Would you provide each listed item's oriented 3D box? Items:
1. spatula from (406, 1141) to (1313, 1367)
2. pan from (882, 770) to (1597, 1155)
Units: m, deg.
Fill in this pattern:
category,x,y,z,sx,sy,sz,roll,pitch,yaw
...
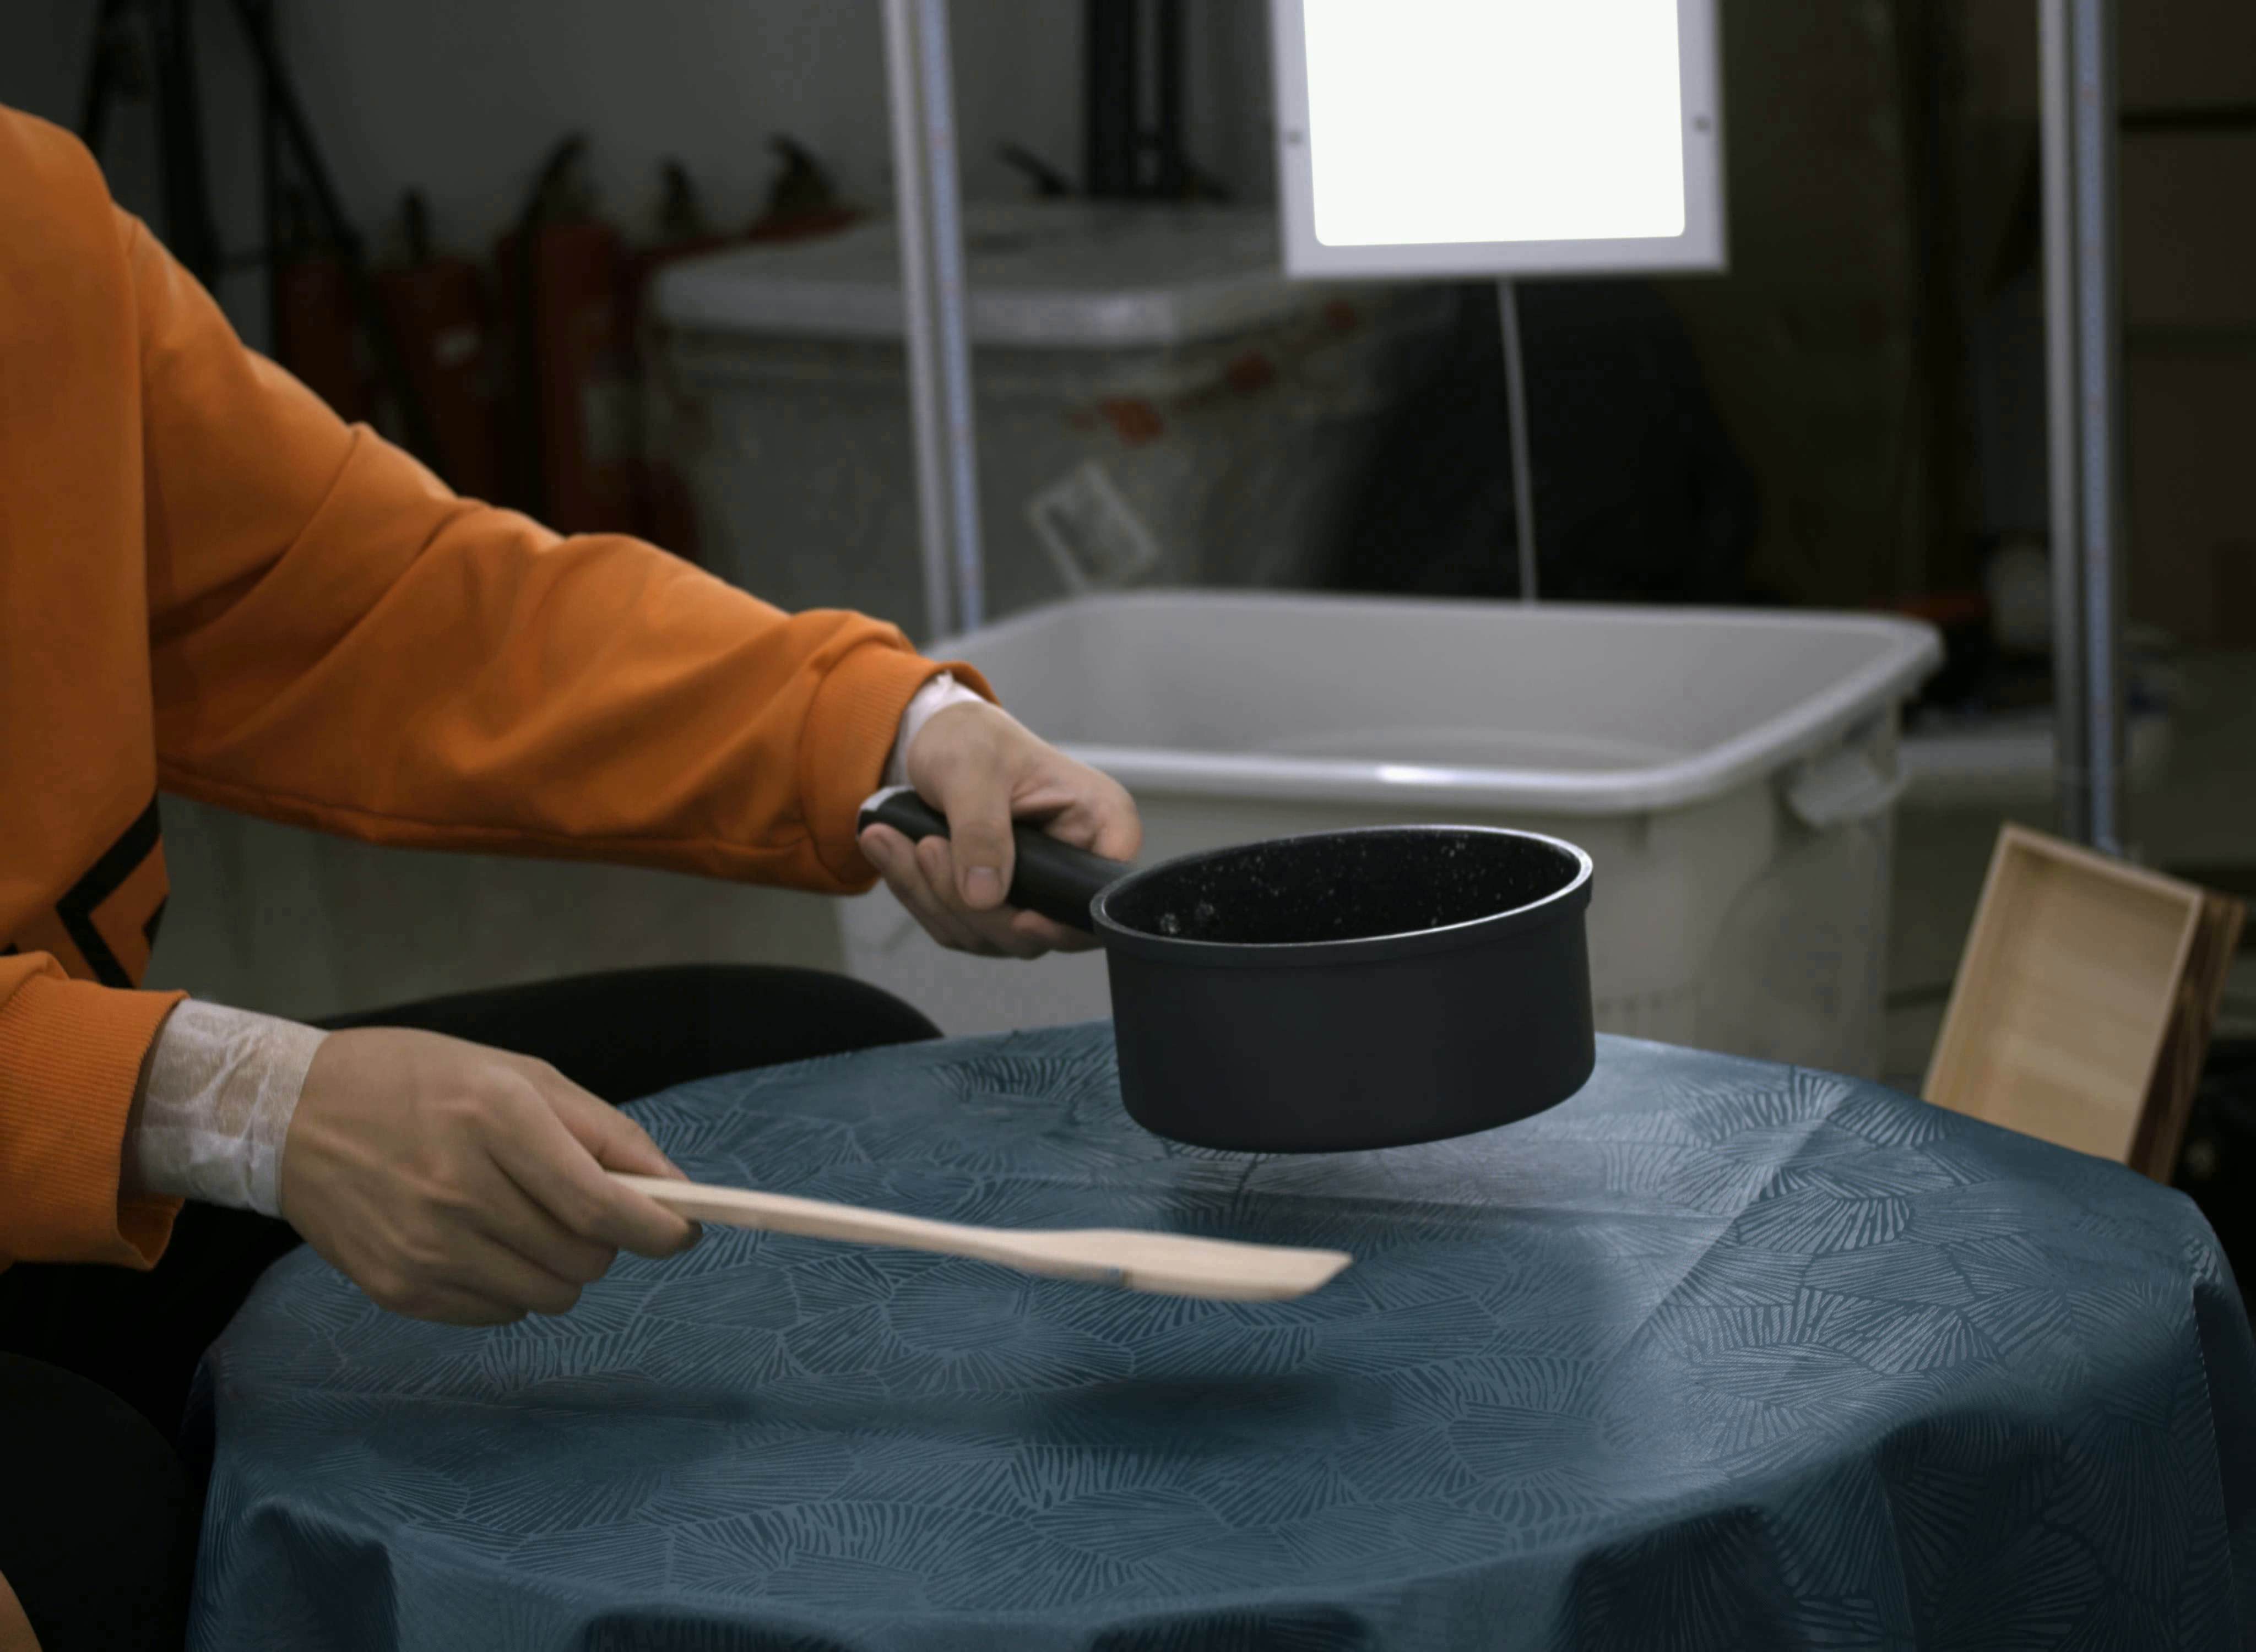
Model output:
category,x,y,z,sx,sy,sz,roll,pitch,yaw
spatula,-0.089,0.131,1.712,0.296,0.011,0.071,10,15,18
pan,0.024,0.043,1.932,0.168,0.087,0.336,-14,16,-37
